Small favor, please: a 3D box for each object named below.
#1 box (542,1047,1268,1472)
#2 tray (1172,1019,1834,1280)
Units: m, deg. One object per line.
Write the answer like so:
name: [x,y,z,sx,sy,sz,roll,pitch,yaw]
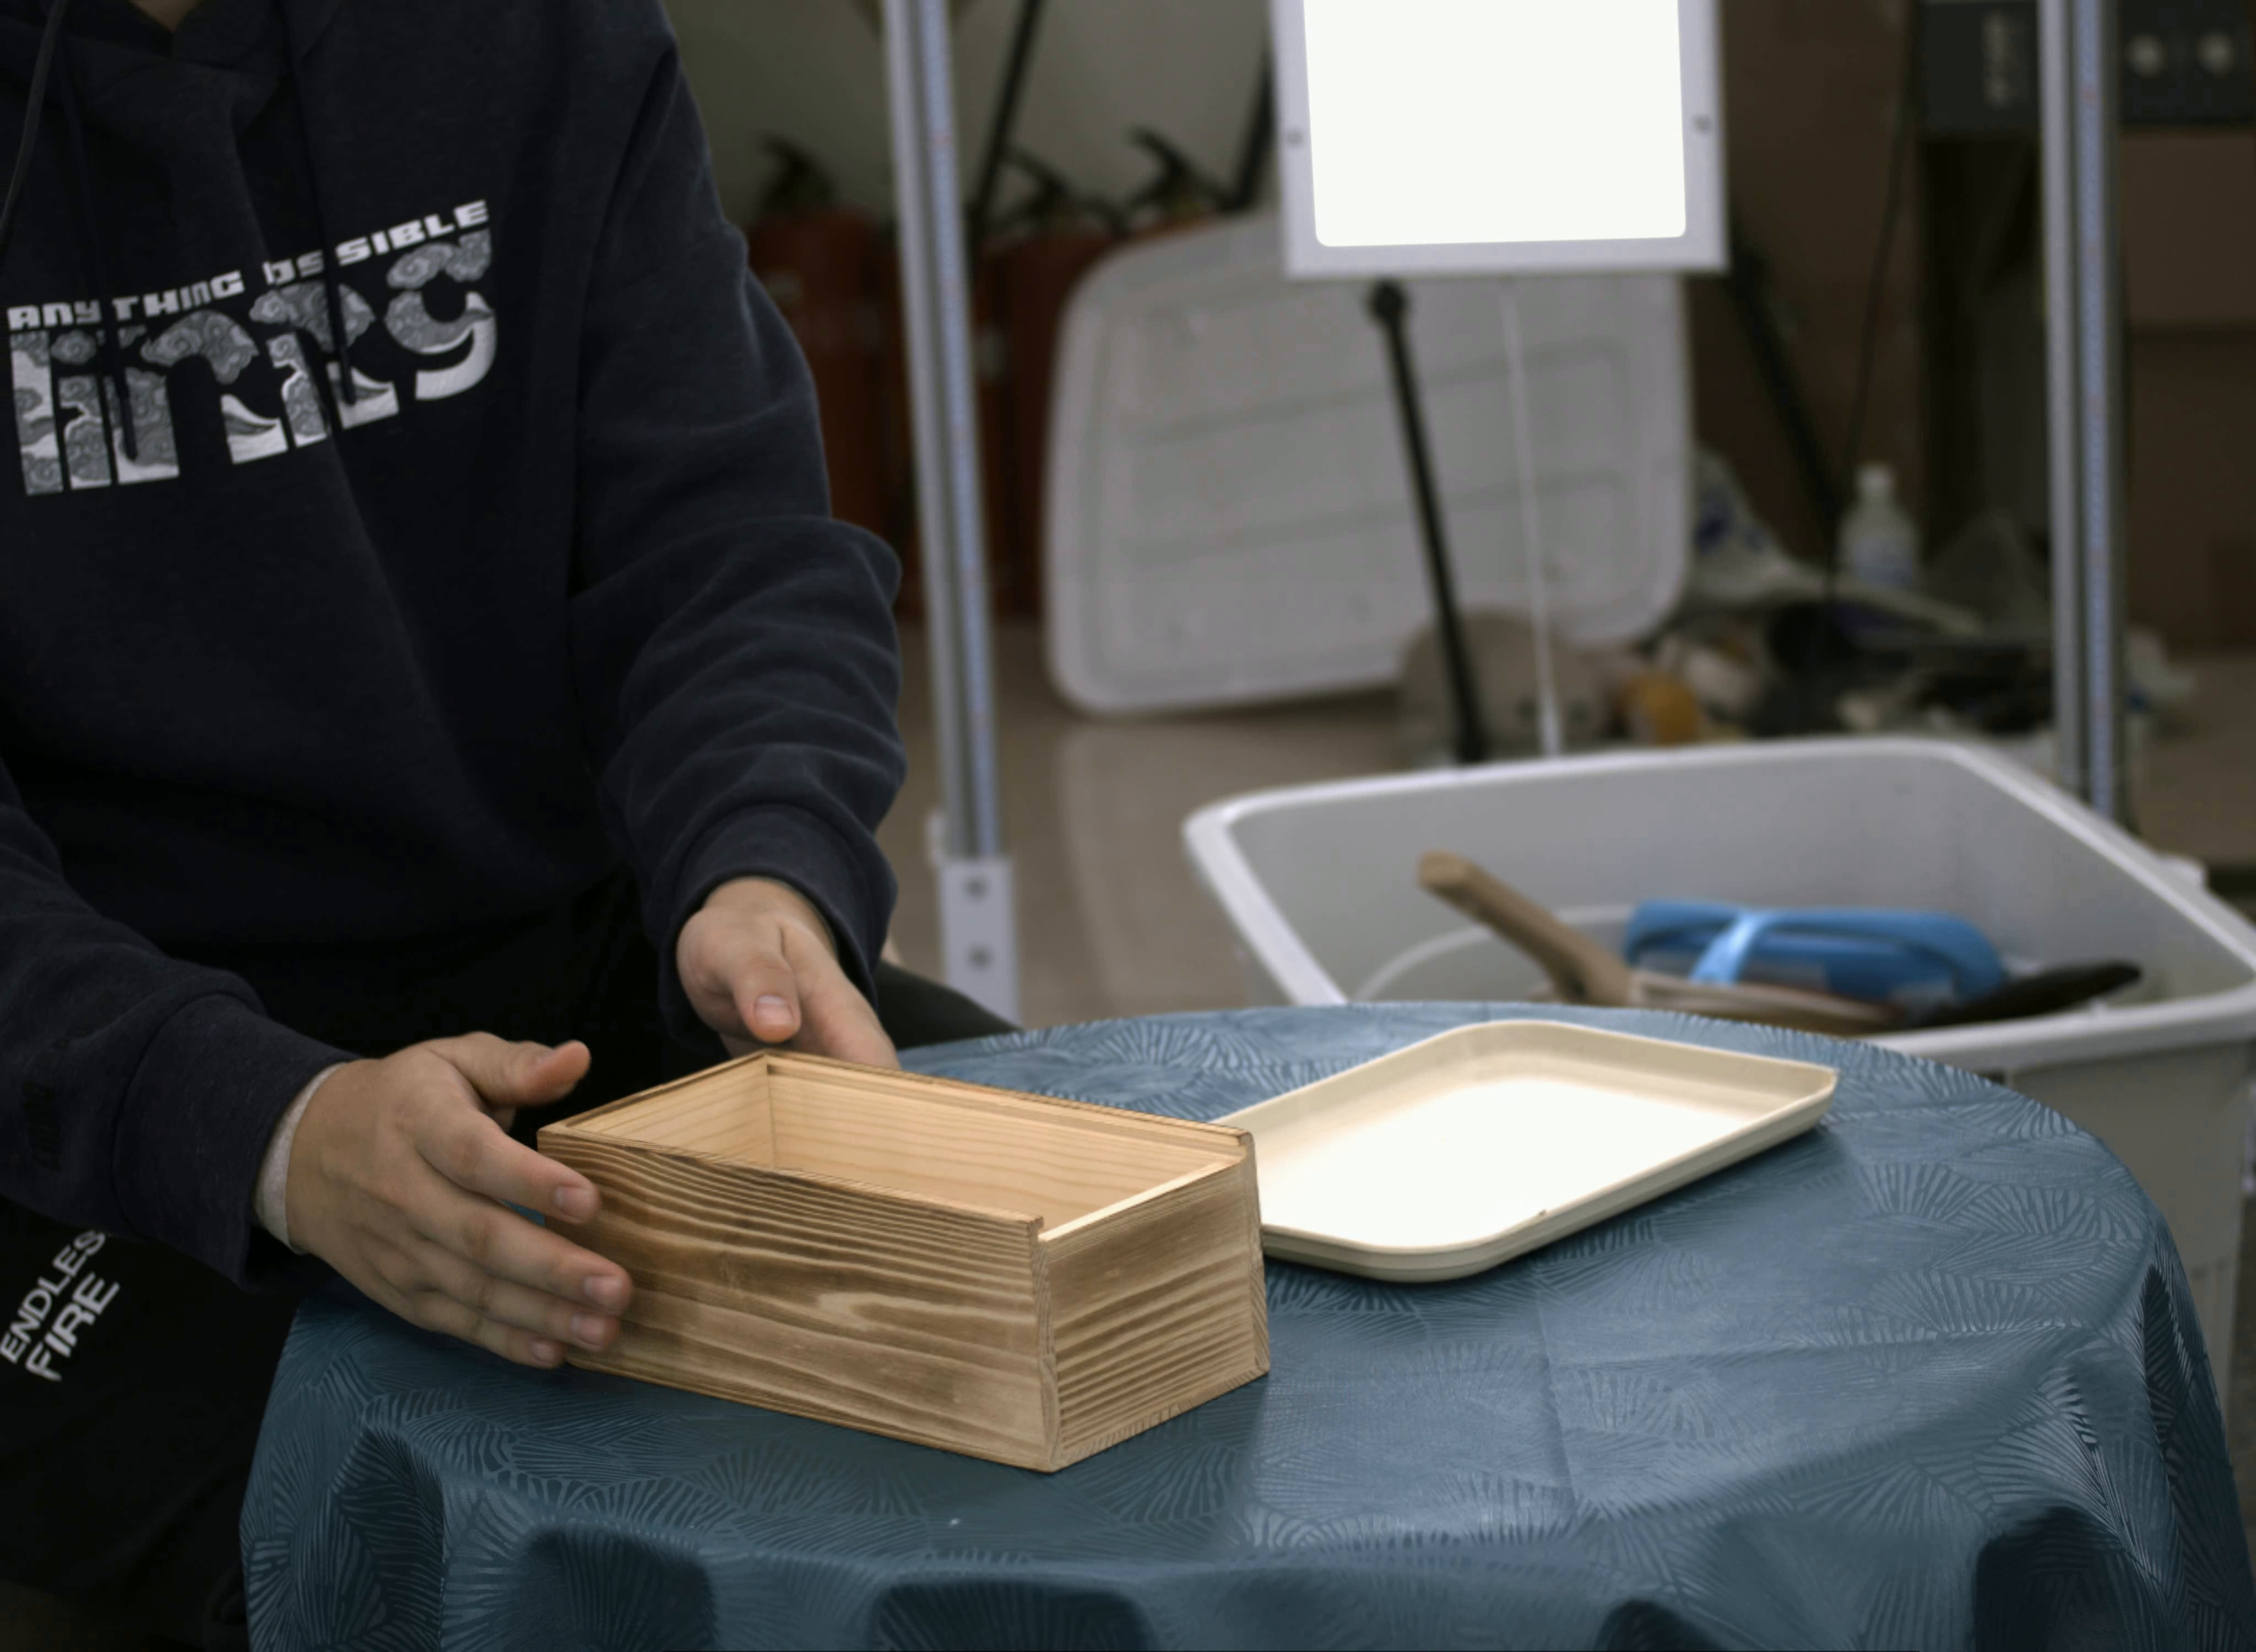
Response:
box: [-0.071,0.132,1.729,0.216,0.080,0.105,7,17,41]
tray: [0.118,0.110,1.888,0.175,0.017,0.233,7,18,44]
